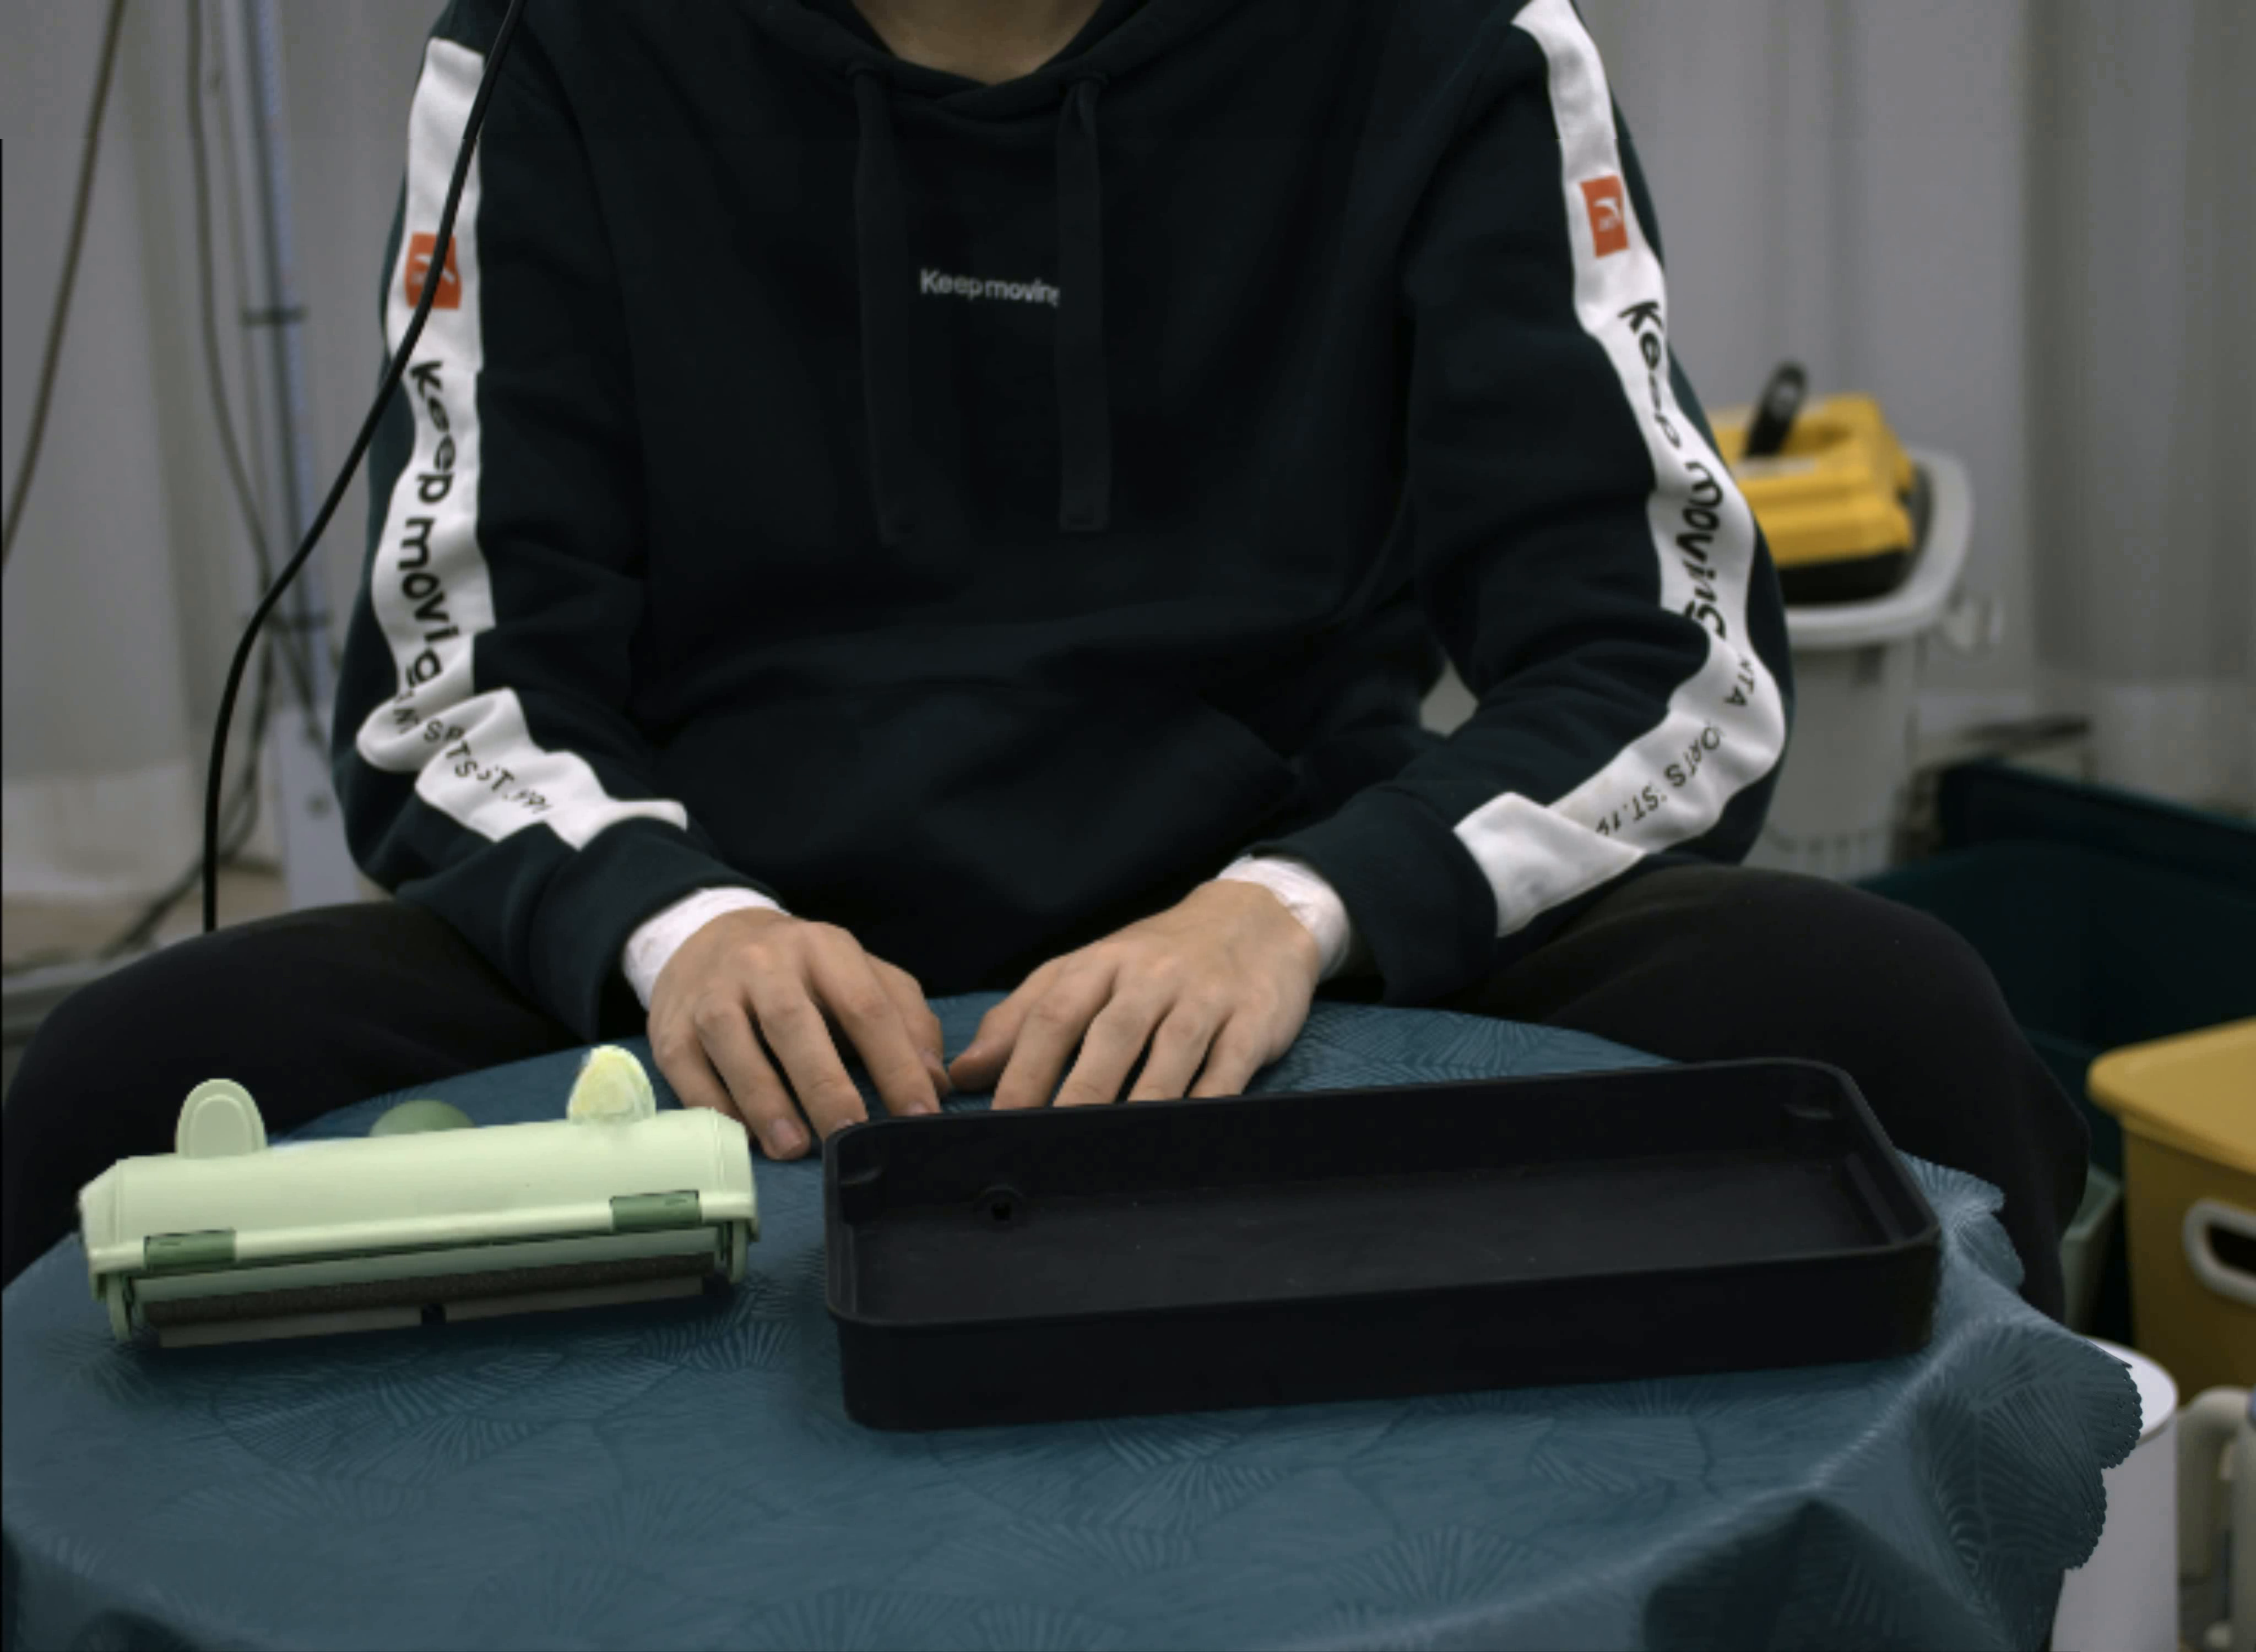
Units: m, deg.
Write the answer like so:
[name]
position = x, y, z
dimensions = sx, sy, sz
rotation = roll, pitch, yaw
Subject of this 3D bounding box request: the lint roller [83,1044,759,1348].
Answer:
[lint roller]
position = -0.217, 0.096, 1.677
dimensions = 0.198, 0.082, 0.185
rotation = -5, 18, -7

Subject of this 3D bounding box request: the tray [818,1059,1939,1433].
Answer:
[tray]
position = 0.068, 0.121, 1.609
dimensions = 0.317, 0.037, 0.185
rotation = -4, 15, -2
